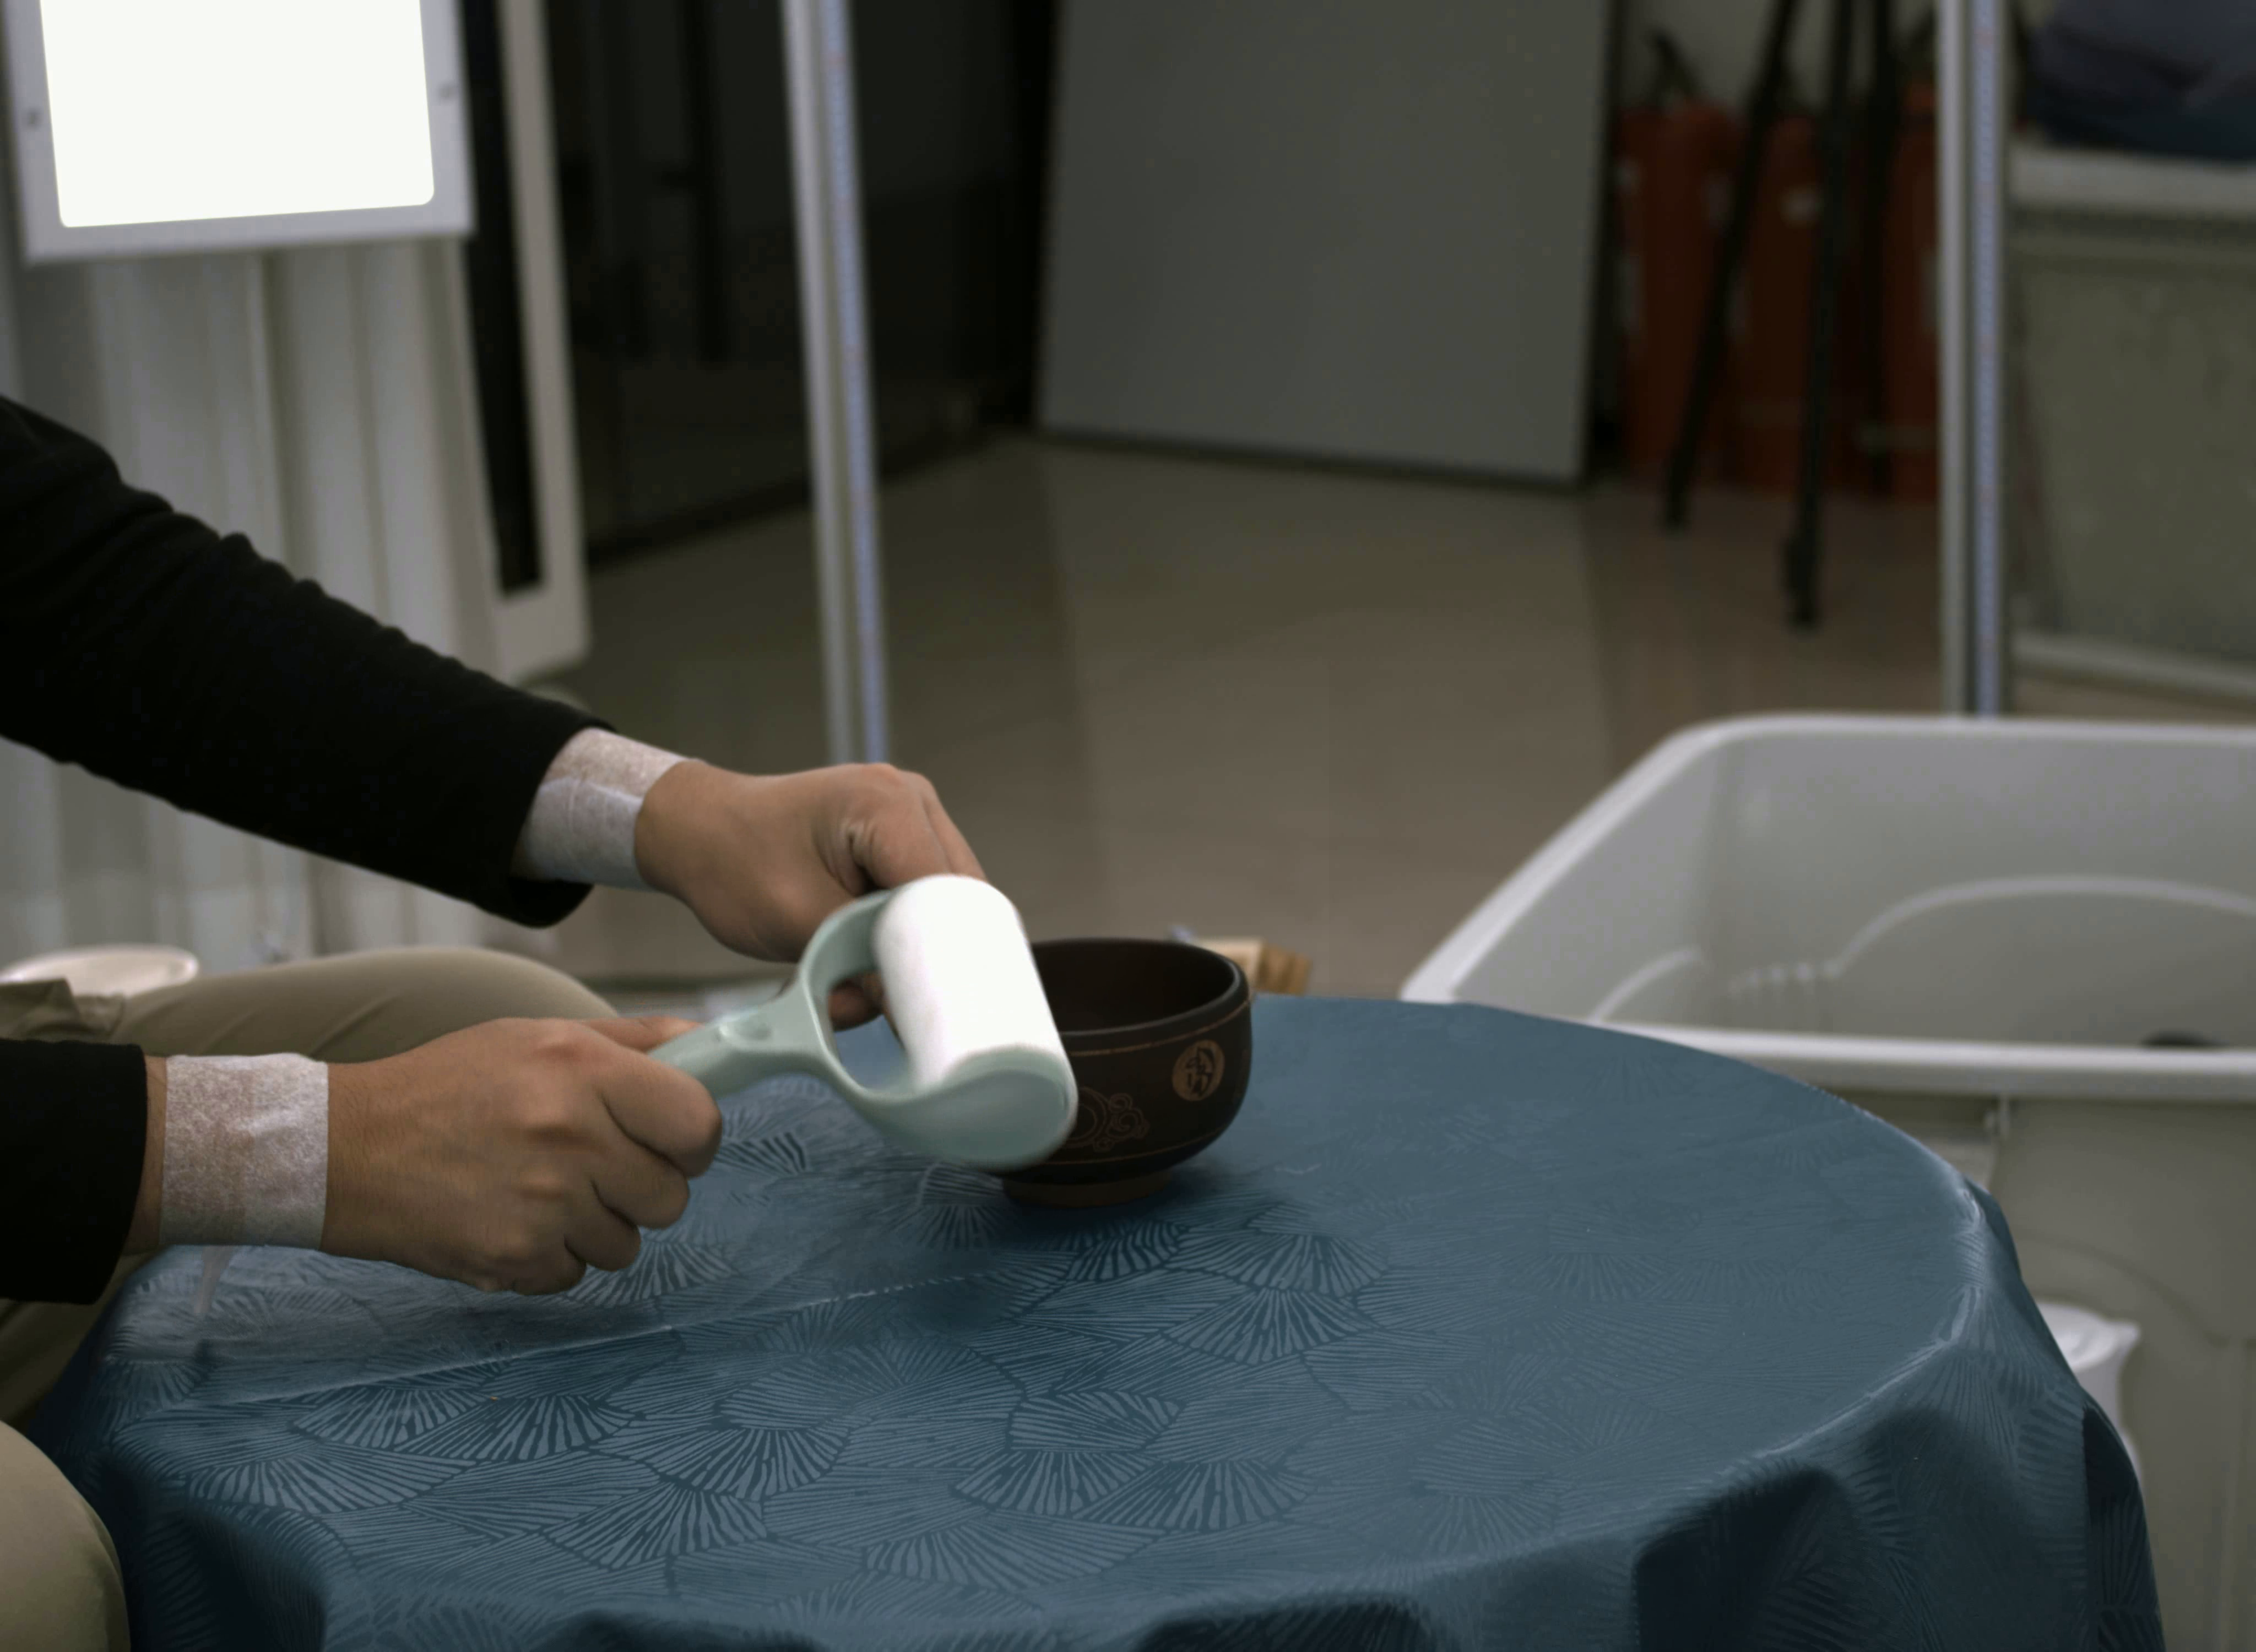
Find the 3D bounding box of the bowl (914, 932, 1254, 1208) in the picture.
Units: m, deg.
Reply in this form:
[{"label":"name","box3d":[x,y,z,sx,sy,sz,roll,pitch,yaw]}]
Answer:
[{"label":"bowl","box3d":[-0.015,0.084,1.775,0.116,0.070,0.118,-5,14,0]}]

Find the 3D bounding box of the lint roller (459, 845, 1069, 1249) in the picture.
[{"label":"lint roller","box3d":[-0.122,0.076,1.699,0.195,0.048,0.118,-20,33,-5]}]
